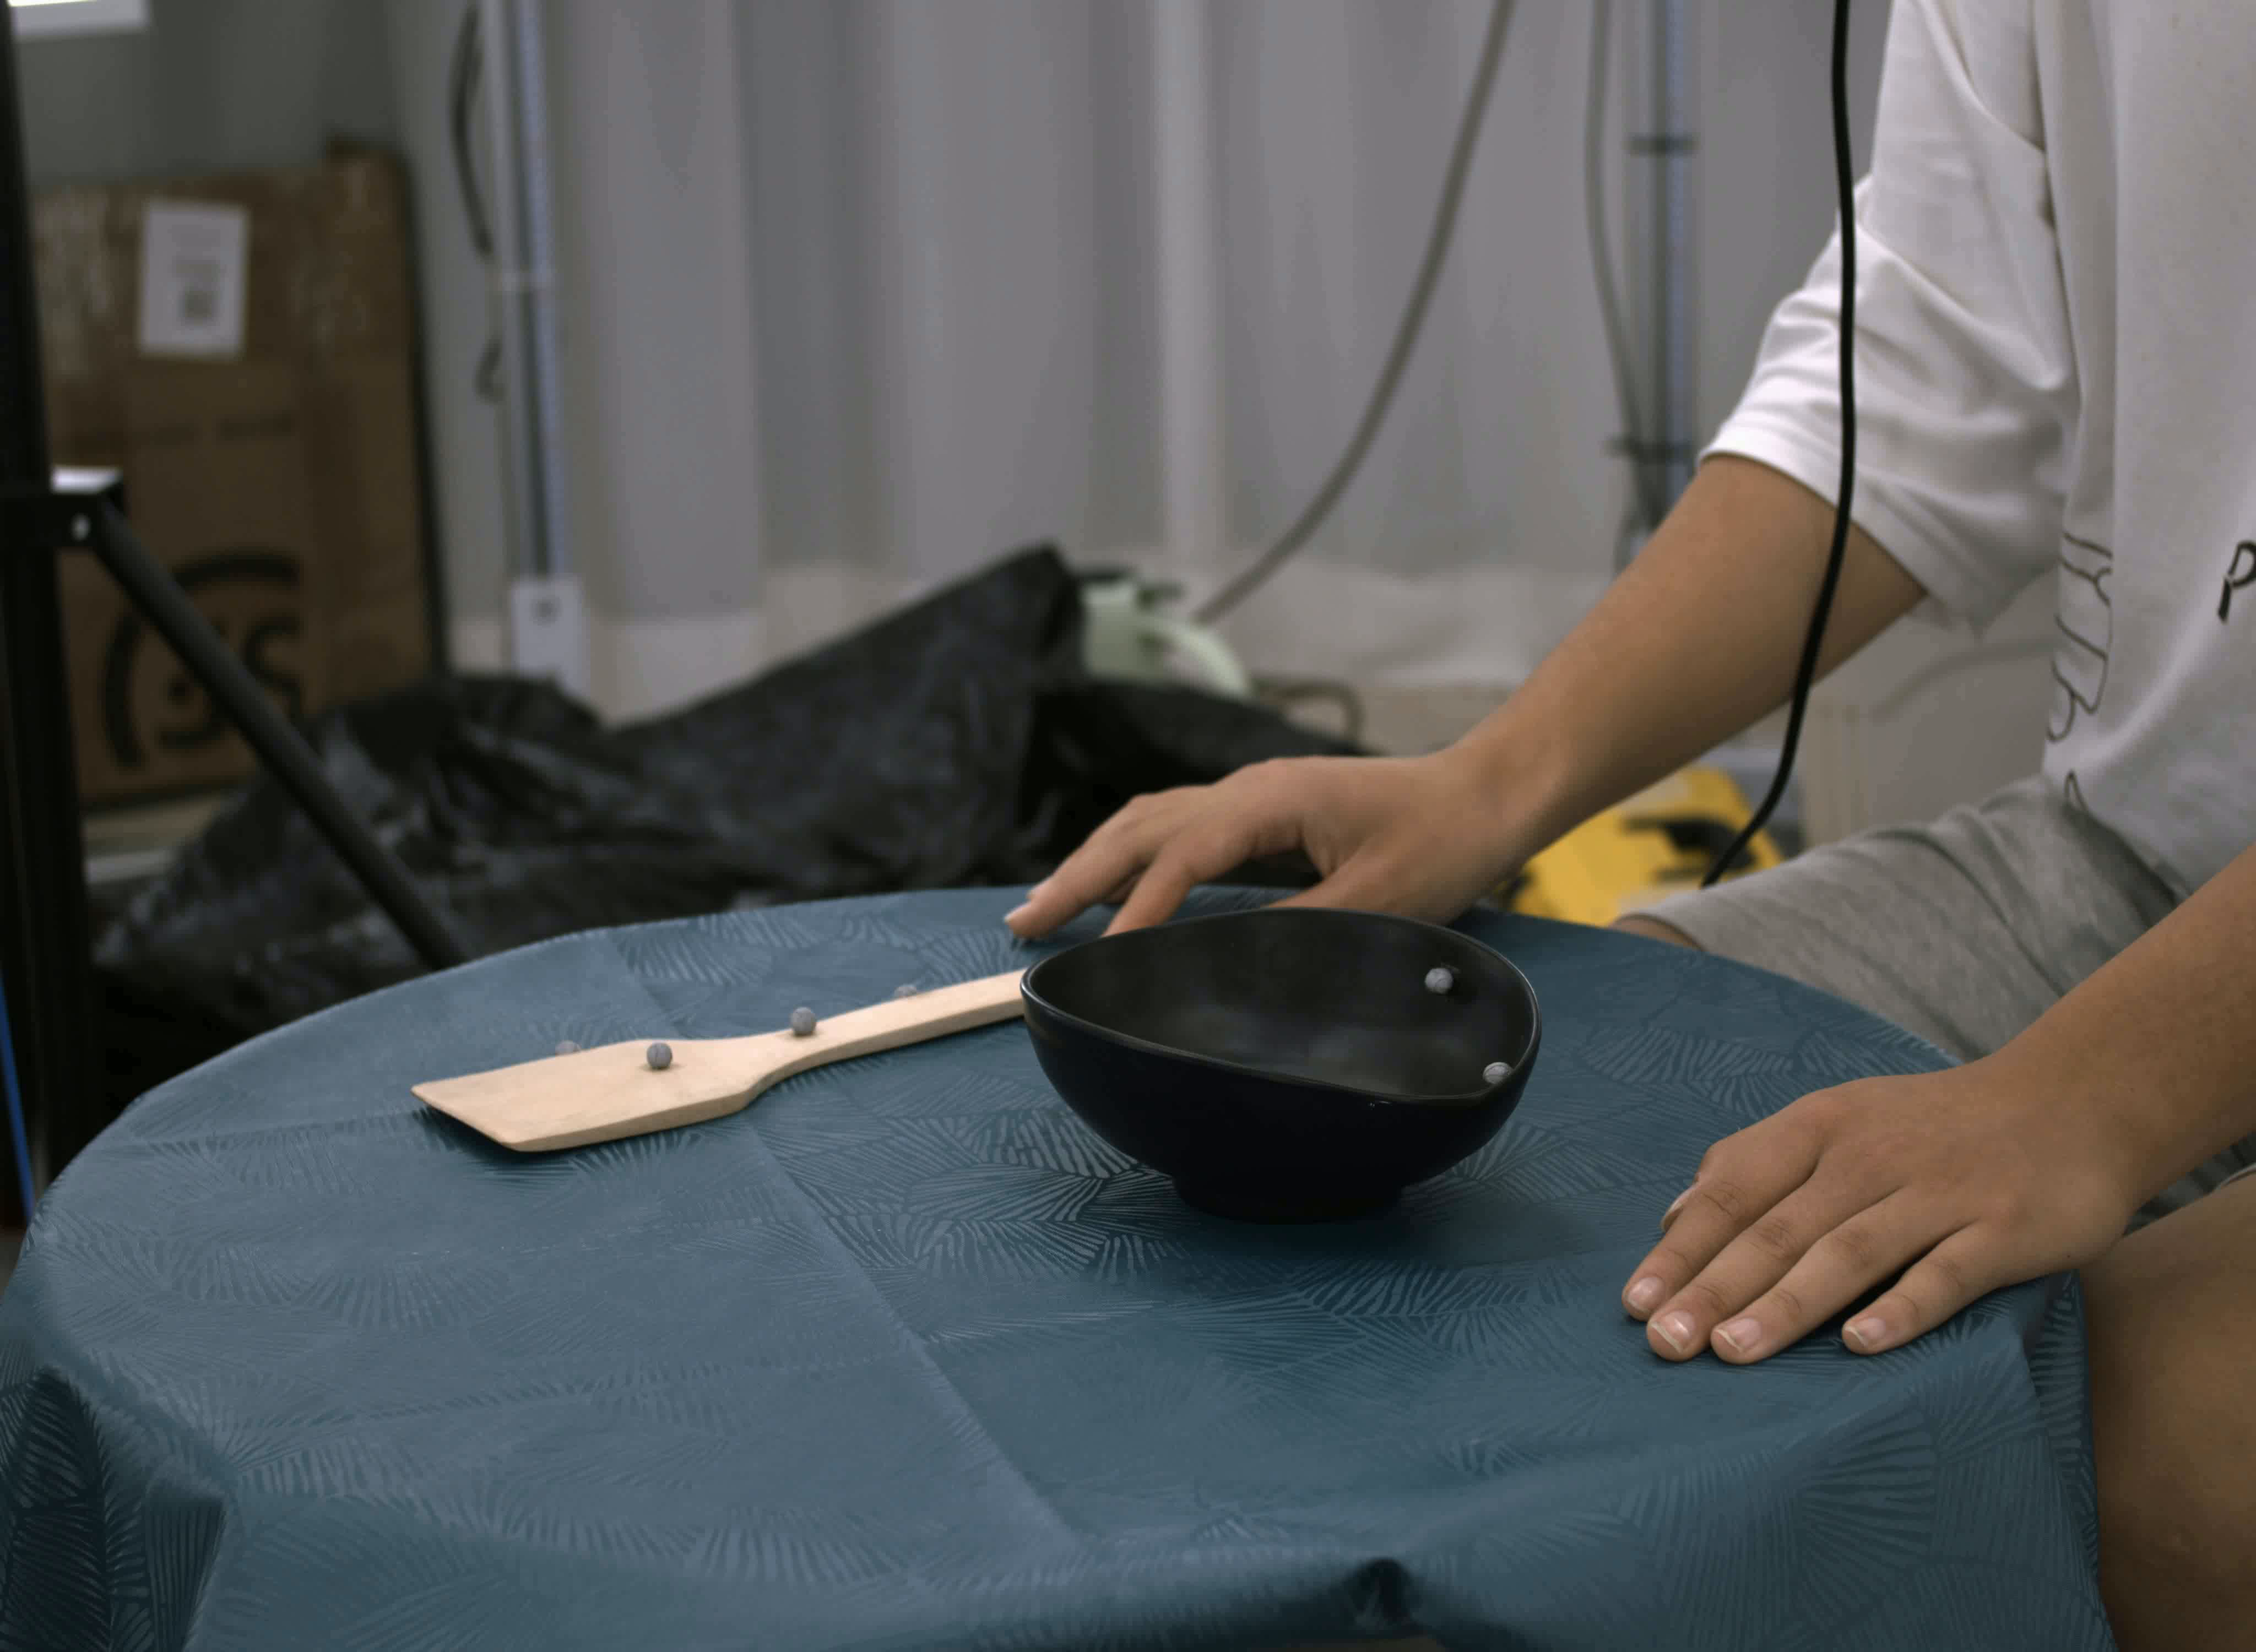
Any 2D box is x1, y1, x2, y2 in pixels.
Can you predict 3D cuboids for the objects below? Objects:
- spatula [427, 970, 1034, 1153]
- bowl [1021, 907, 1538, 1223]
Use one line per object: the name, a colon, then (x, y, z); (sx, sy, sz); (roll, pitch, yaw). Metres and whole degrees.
spatula: (-0.082, 0.065, 1.705); (0.286, 0.010, 0.074); (-13, 18, -30)
bowl: (0.045, 0.074, 1.555); (0.134, 0.067, 0.174); (-16, 22, -41)
